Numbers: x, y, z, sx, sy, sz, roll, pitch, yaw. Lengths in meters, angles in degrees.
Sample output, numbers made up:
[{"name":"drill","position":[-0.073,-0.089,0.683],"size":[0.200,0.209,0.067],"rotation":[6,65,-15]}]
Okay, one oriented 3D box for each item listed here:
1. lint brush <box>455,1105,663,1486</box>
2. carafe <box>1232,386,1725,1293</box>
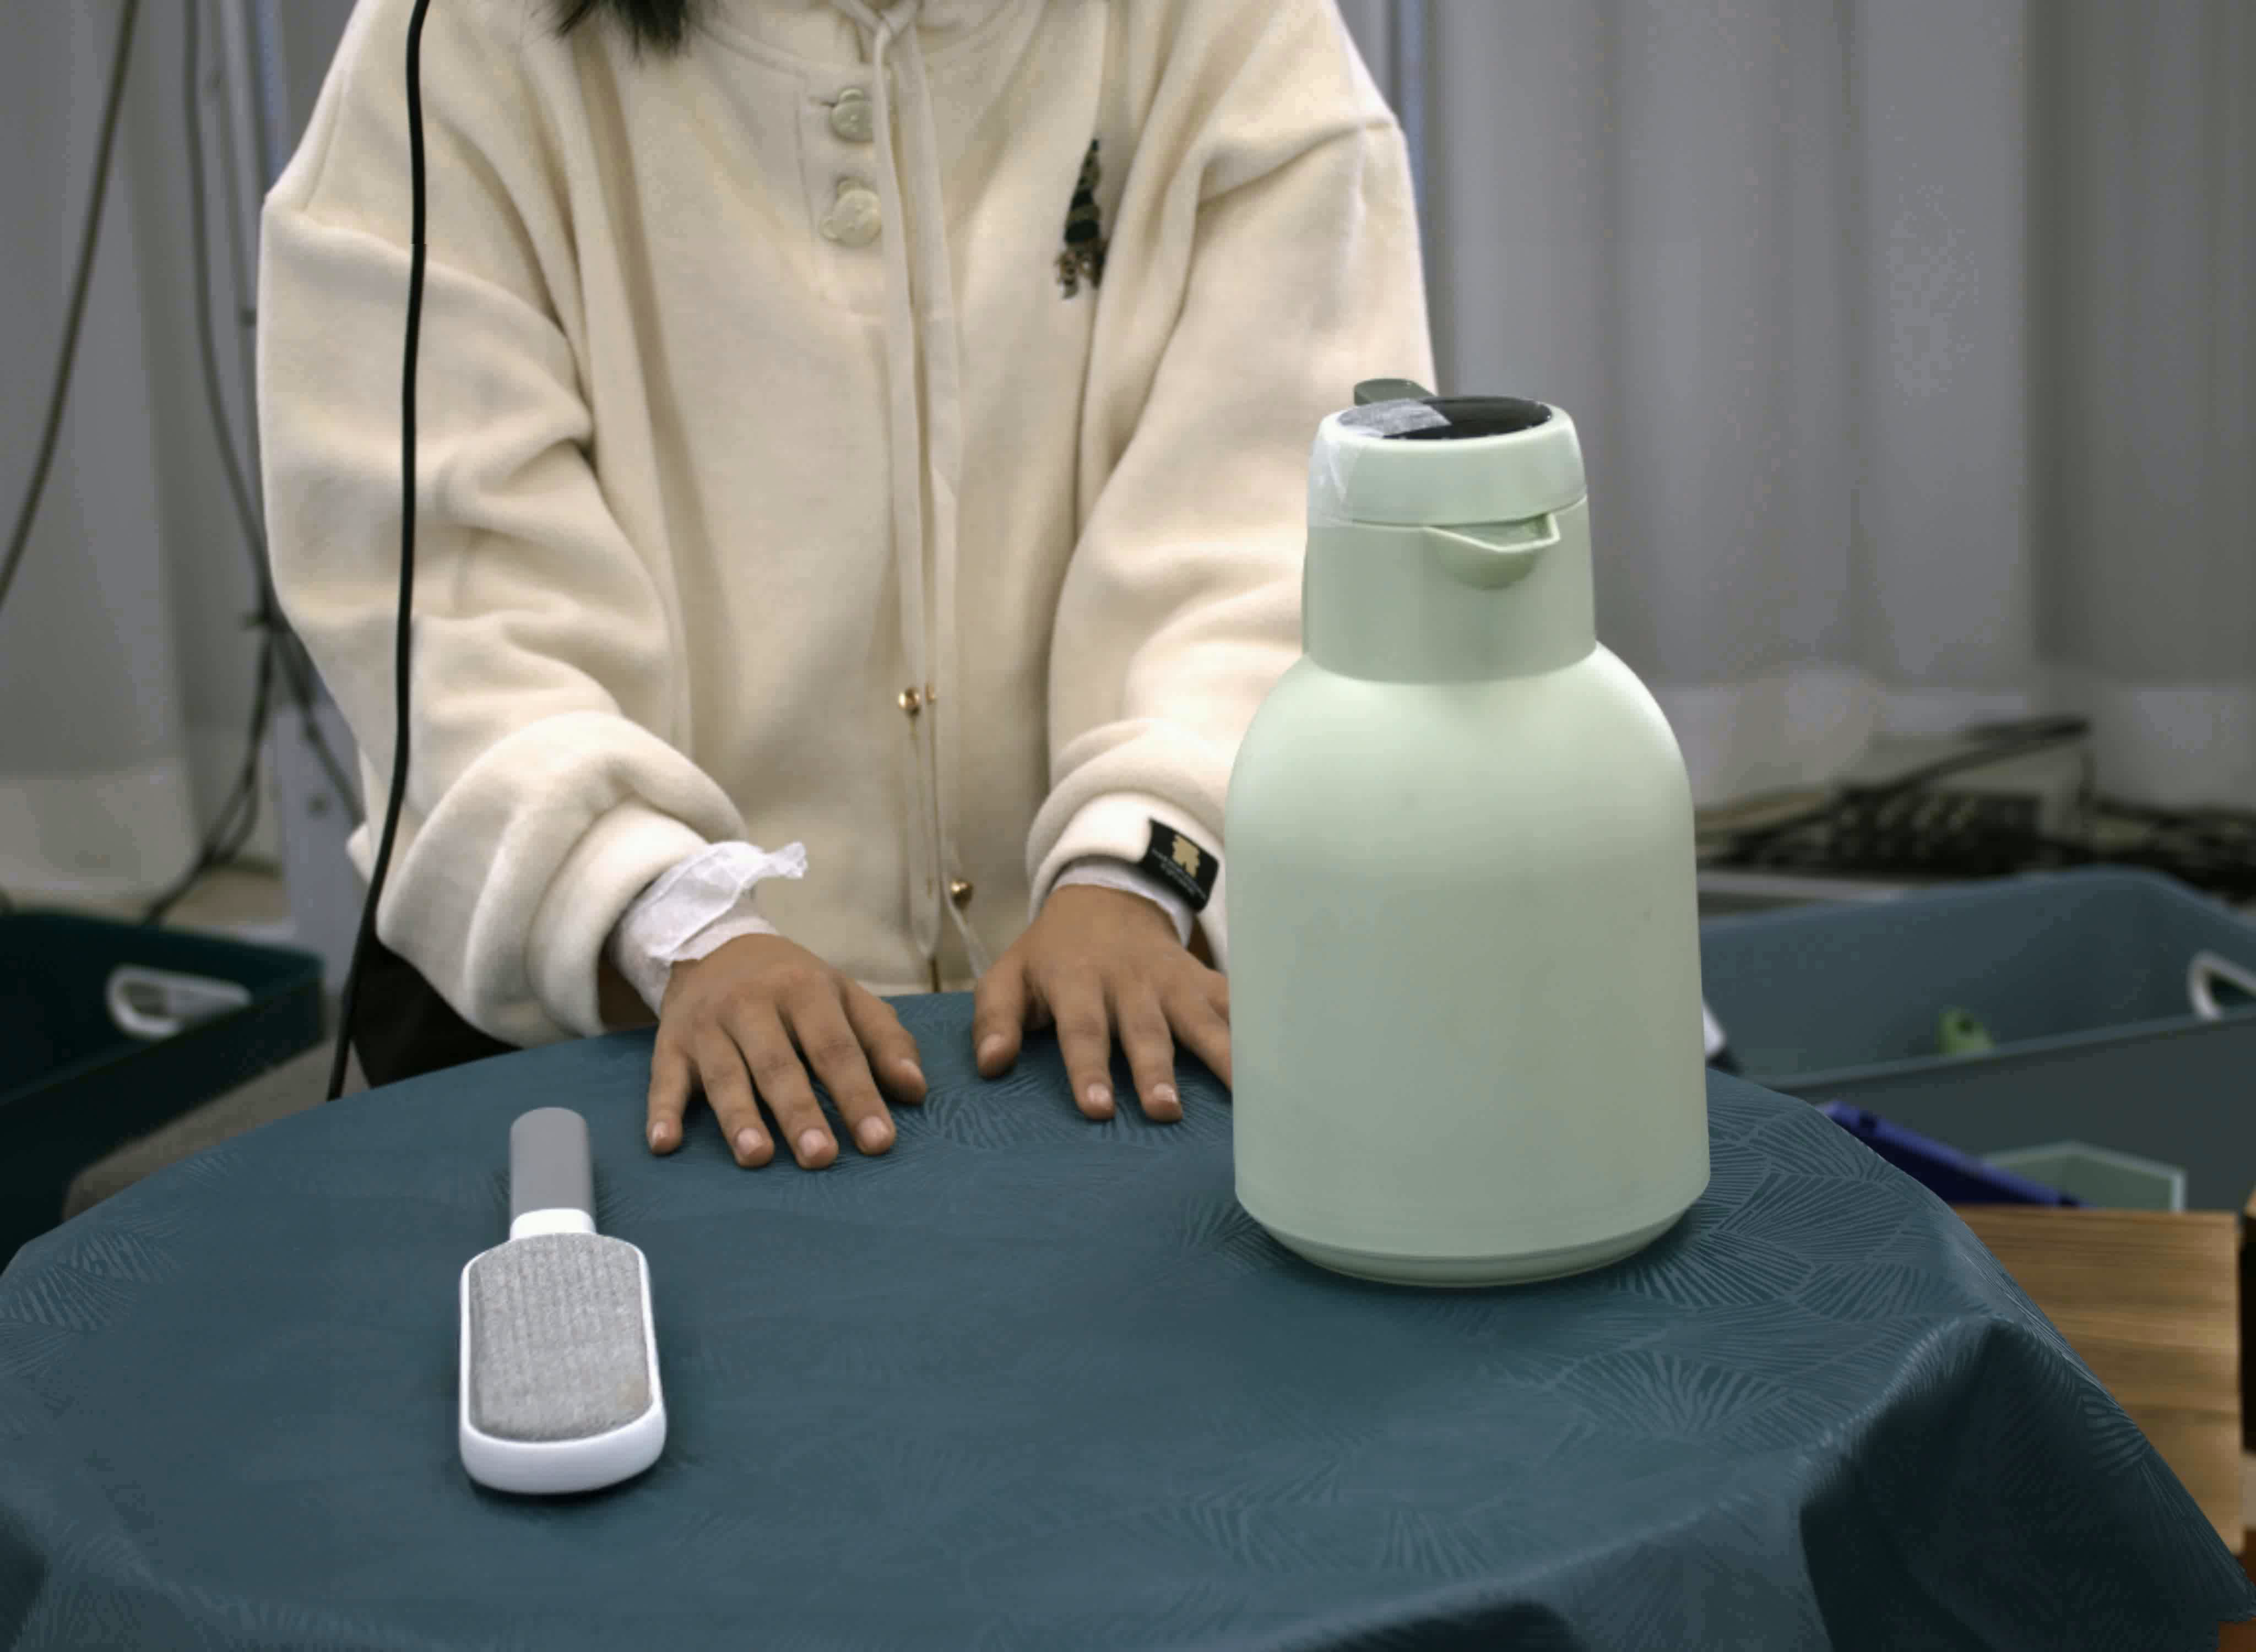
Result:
[{"name":"lint brush","position":[-0.169,0.135,1.624],"size":[0.060,0.021,0.311],"rotation":[-7,15,-5]},{"name":"carafe","position":[0.097,-0.002,1.653],"size":[0.143,0.256,0.188],"rotation":[-8,11,-14]}]
